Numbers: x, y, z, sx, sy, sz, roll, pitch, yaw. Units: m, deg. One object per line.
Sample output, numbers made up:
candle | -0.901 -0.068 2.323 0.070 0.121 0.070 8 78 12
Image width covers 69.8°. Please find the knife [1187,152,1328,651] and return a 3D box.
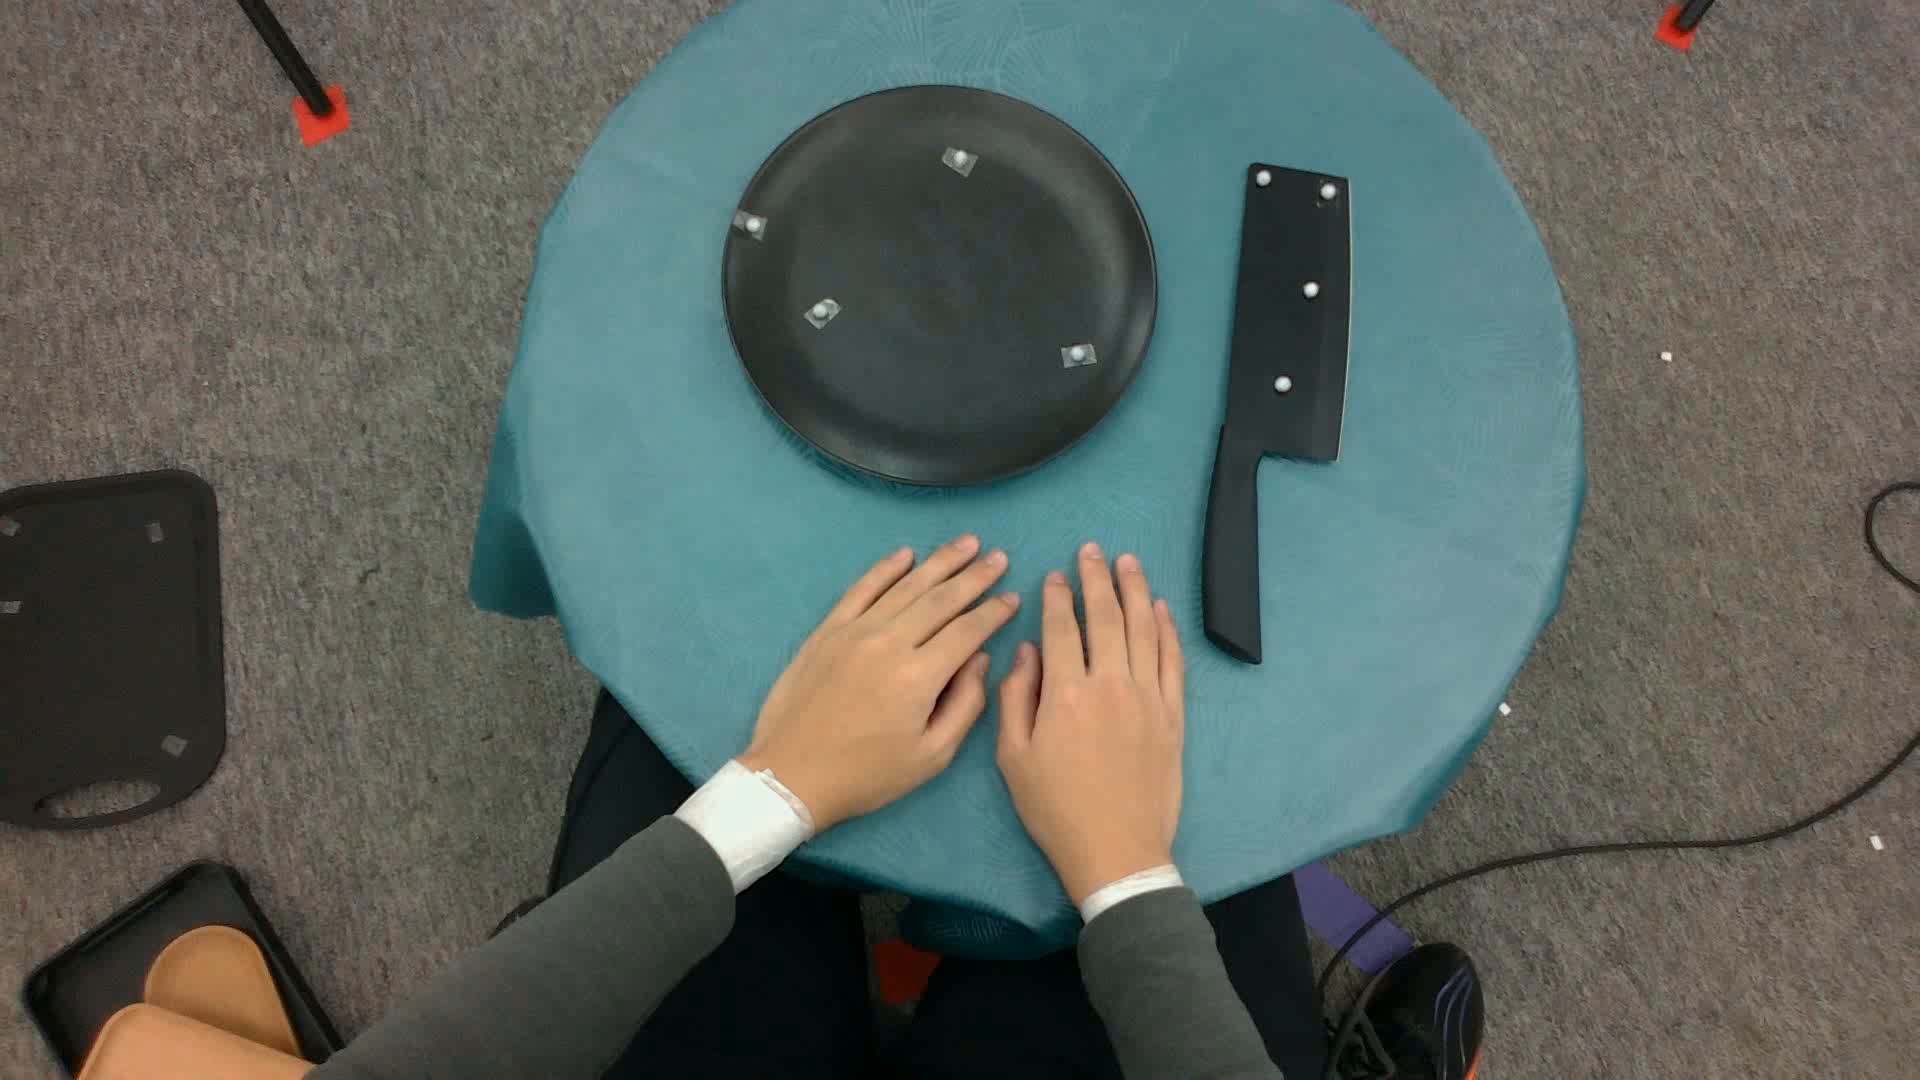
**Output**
knife | 0.167 -0.086 0.771 0.081 0.021 0.303 12 72 -1

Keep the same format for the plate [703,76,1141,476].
plate | -0.020 -0.149 0.772 0.244 0.023 0.245 1 74 -3
